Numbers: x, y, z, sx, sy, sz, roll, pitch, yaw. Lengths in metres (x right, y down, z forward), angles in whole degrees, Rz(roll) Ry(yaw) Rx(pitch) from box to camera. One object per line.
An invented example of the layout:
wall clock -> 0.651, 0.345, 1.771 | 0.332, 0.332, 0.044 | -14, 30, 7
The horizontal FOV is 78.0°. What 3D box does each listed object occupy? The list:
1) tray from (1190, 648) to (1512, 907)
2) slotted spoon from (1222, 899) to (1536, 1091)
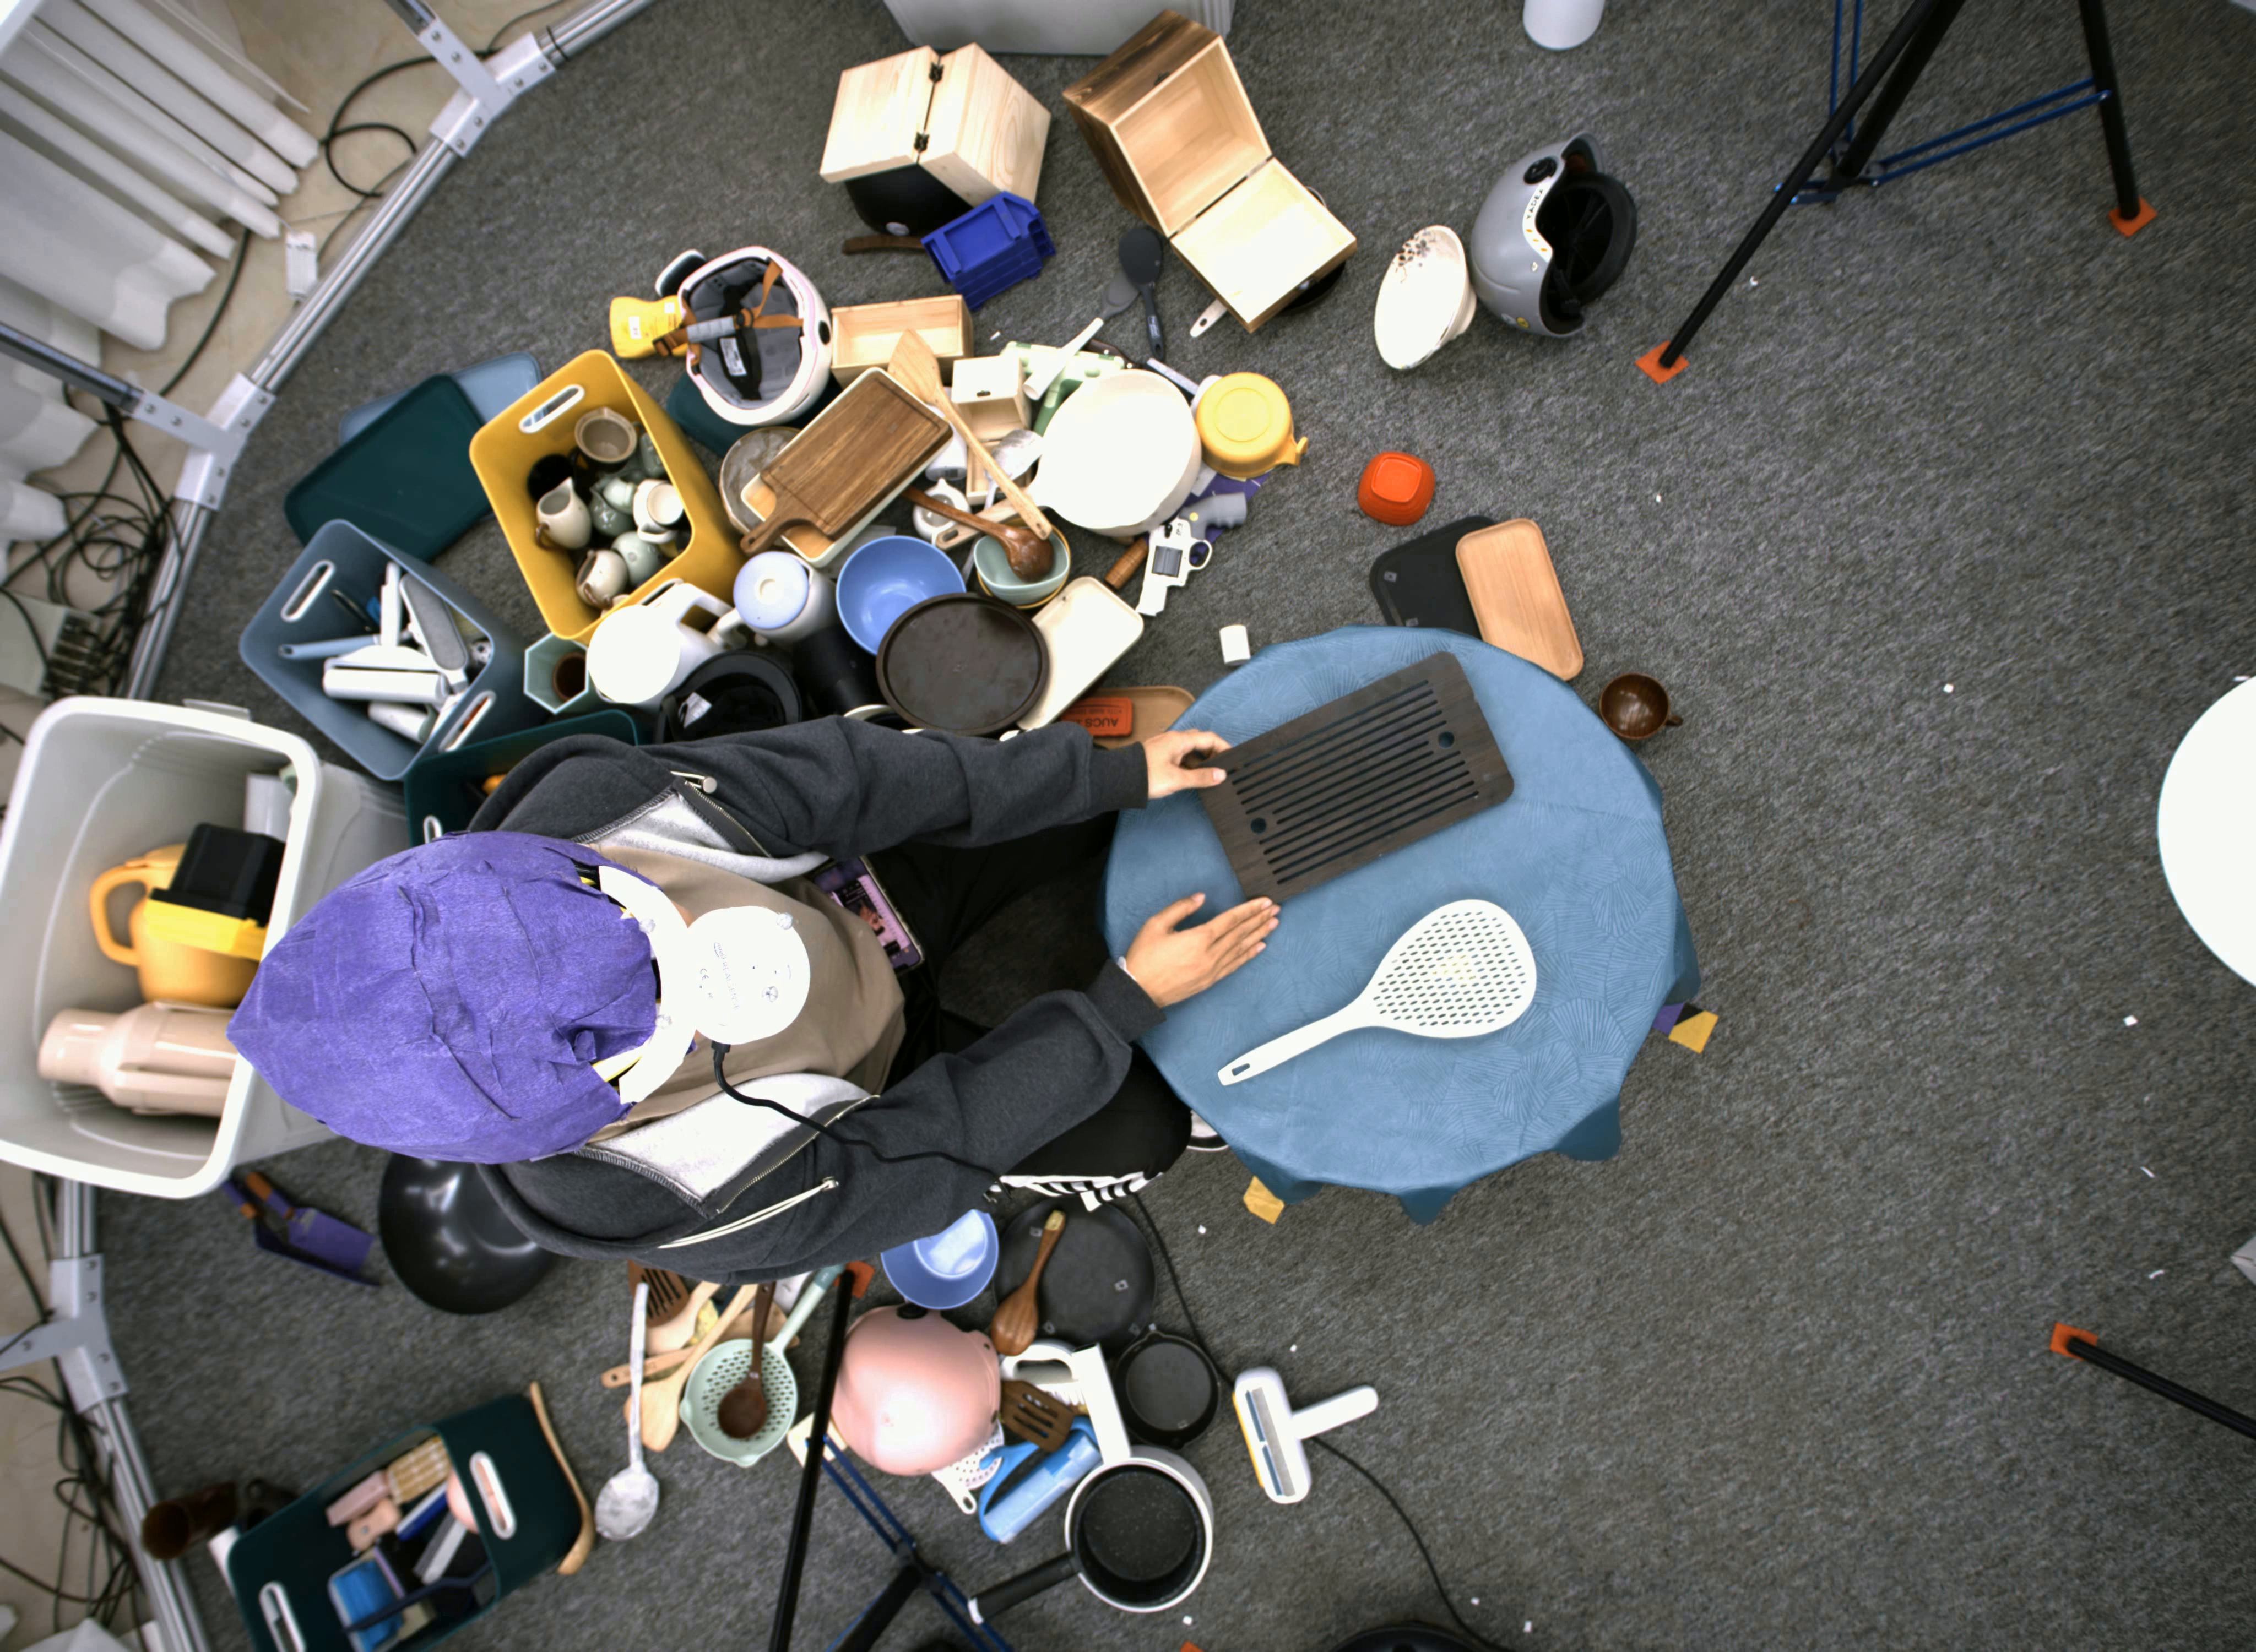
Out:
tray -> 0.233, -0.051, 1.451 | 0.307, 0.018, 0.170 | -25, 90, 7
slotted spoon -> 0.251, 0.192, 1.435 | 0.350, 0.050, 0.136 | -26, 84, 8
